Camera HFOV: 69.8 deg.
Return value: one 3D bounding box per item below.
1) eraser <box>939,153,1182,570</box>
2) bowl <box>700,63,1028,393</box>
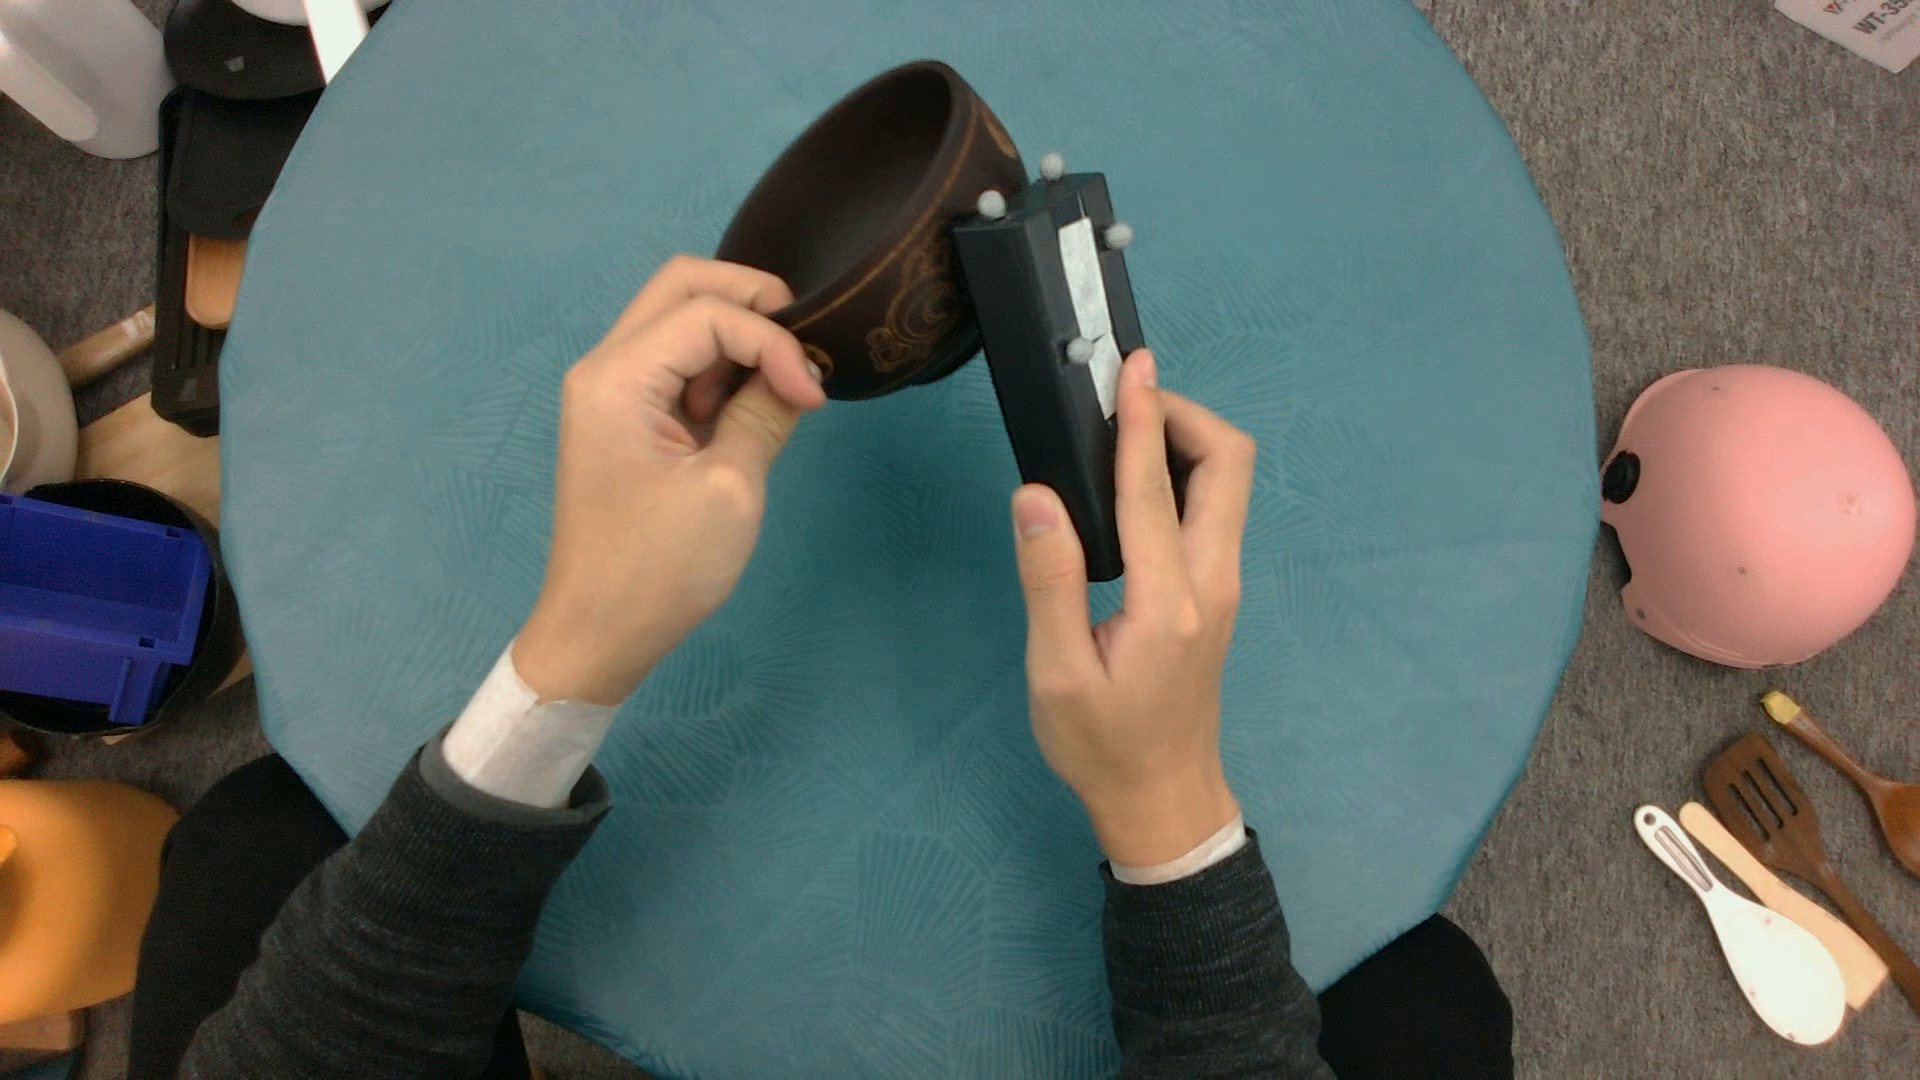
[{"bbox_3d":[0.035,-0.056,0.447,0.054,0.030,0.125,-39,121,-36],"label":"eraser"},{"bbox_3d":[-0.025,-0.100,0.481,0.118,0.118,0.070,-53,128,-11],"label":"bowl"}]
